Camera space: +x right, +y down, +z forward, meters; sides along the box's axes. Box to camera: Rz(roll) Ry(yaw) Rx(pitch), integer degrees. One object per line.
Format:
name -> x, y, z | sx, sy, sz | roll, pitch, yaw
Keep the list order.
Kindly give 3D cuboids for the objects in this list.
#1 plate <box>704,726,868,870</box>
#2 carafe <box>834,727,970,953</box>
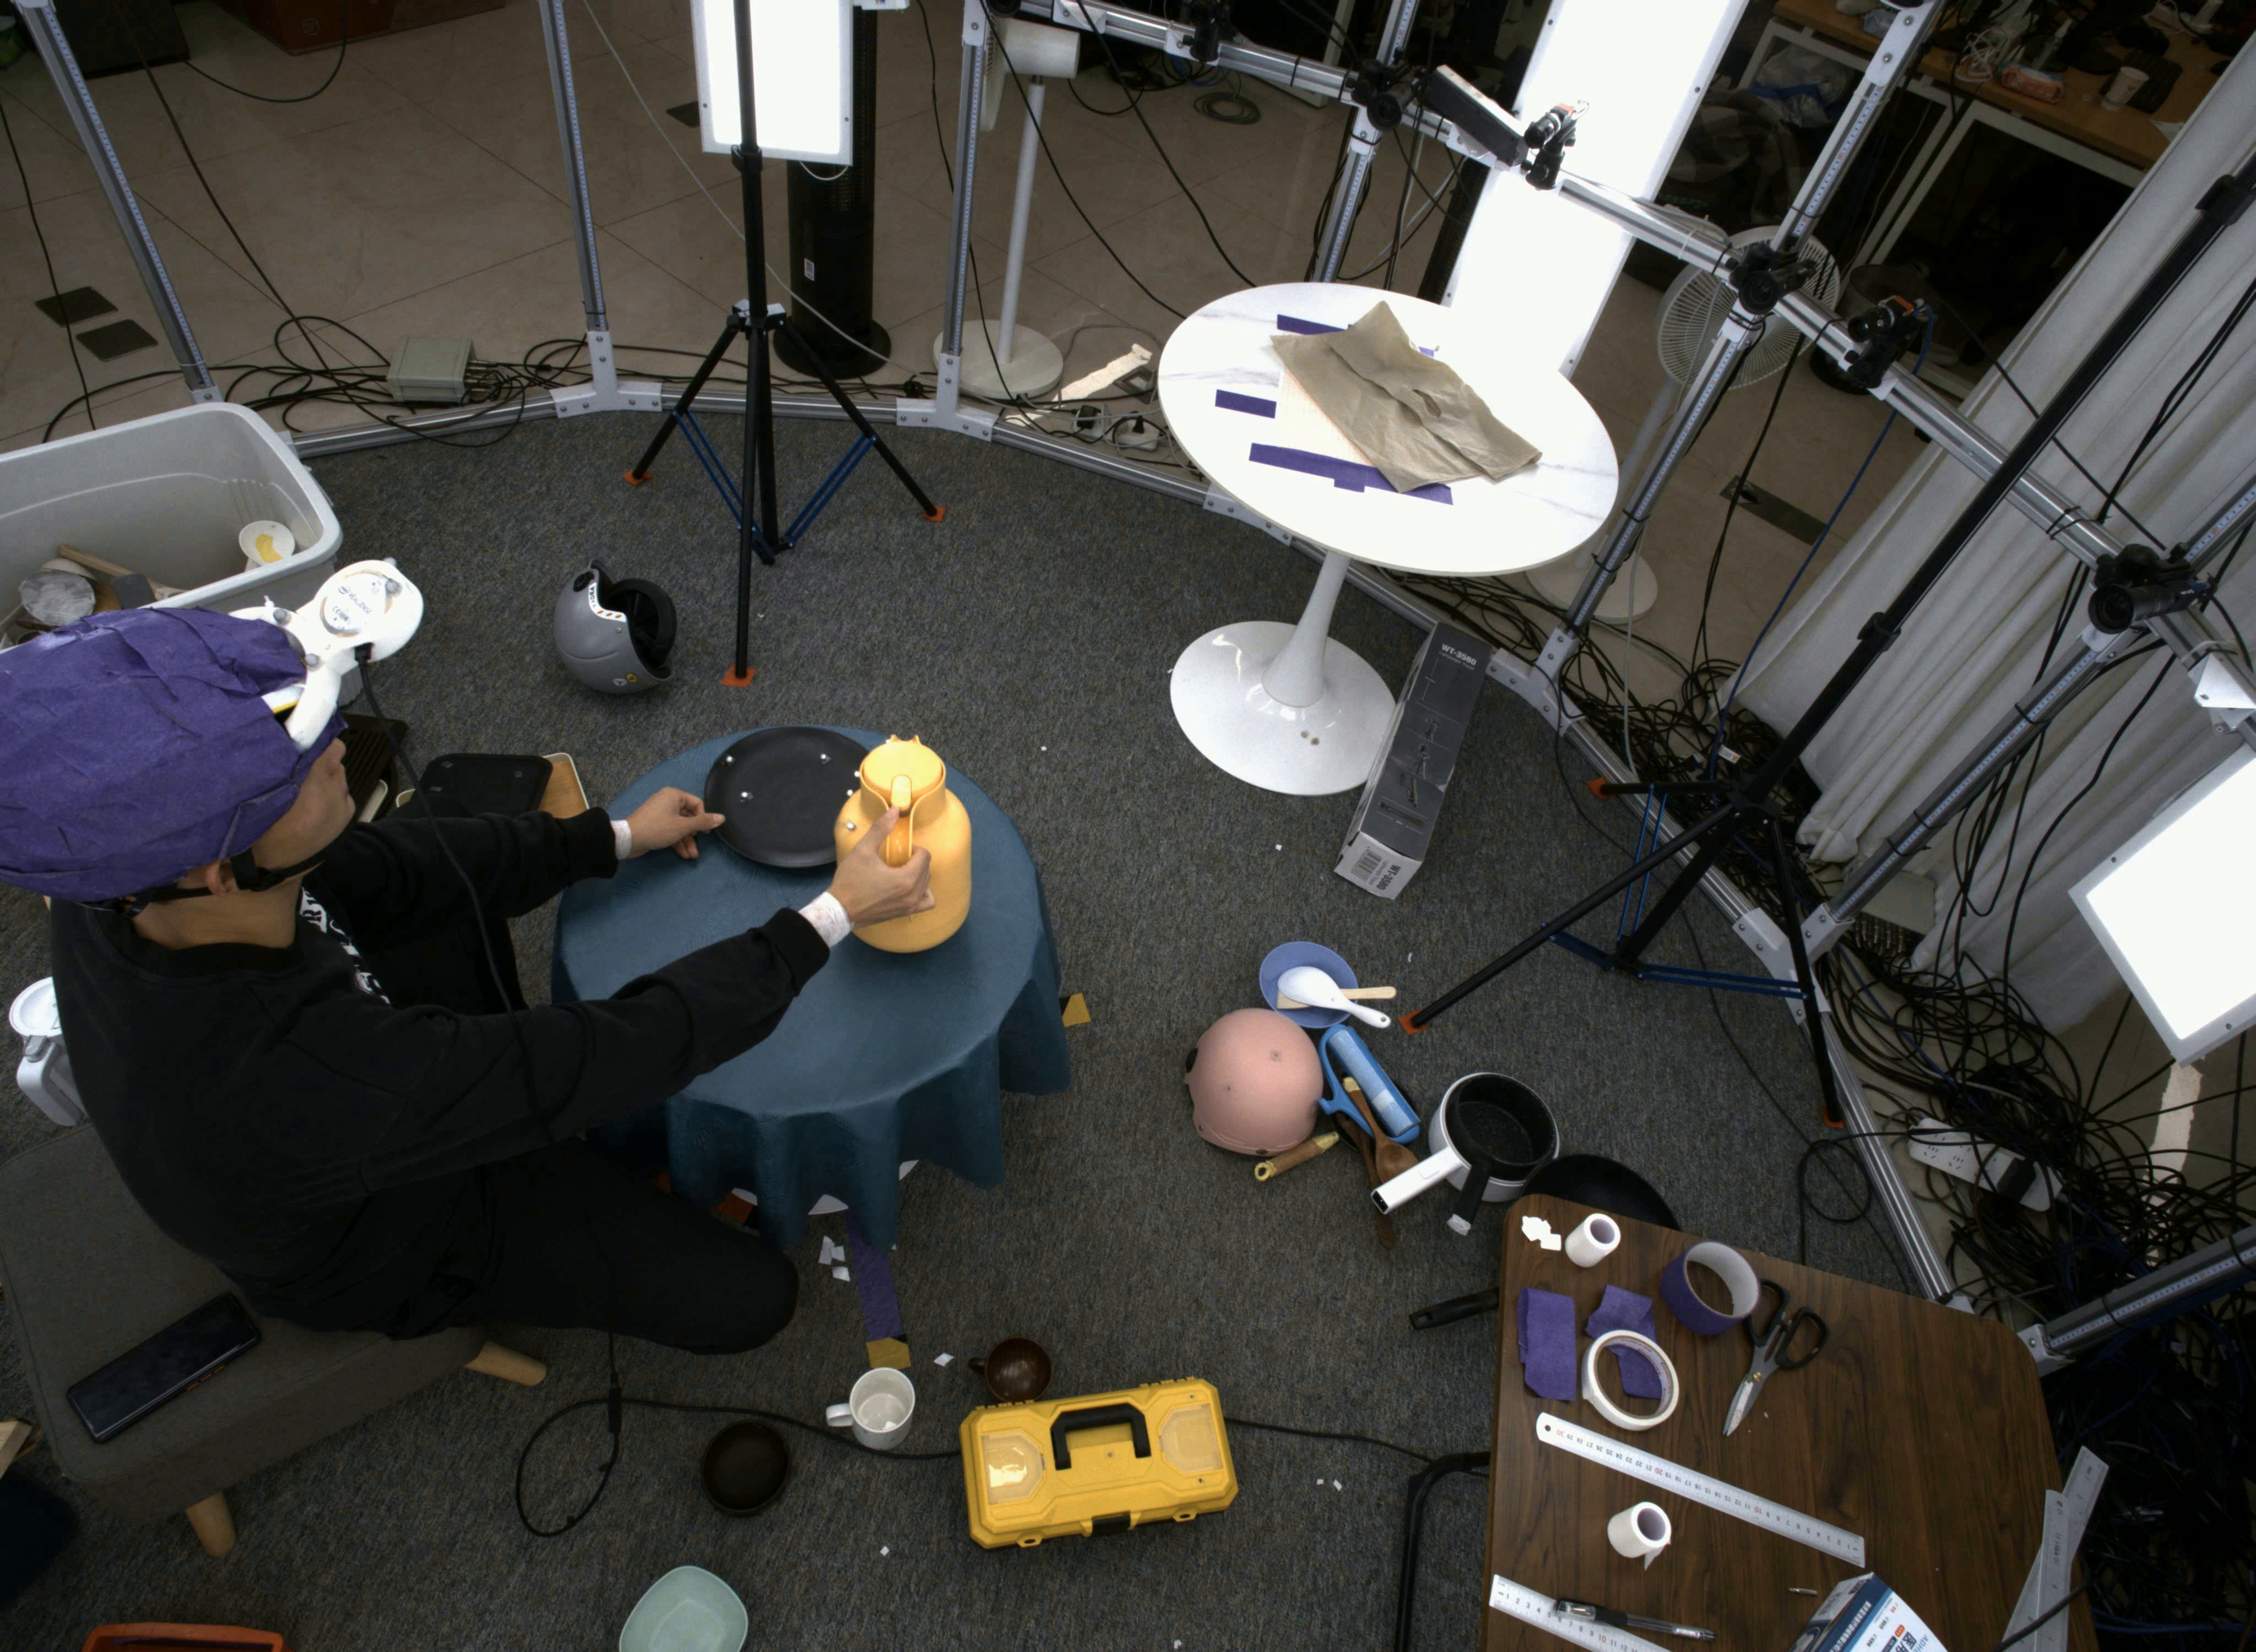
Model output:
plate -> -0.440, -0.037, 1.728 | 0.244, 0.024, 0.240 | 9, 52, -9
carafe -> -0.270, 0.028, 1.538 | 0.162, 0.268, 0.197 | 0, 42, -5
